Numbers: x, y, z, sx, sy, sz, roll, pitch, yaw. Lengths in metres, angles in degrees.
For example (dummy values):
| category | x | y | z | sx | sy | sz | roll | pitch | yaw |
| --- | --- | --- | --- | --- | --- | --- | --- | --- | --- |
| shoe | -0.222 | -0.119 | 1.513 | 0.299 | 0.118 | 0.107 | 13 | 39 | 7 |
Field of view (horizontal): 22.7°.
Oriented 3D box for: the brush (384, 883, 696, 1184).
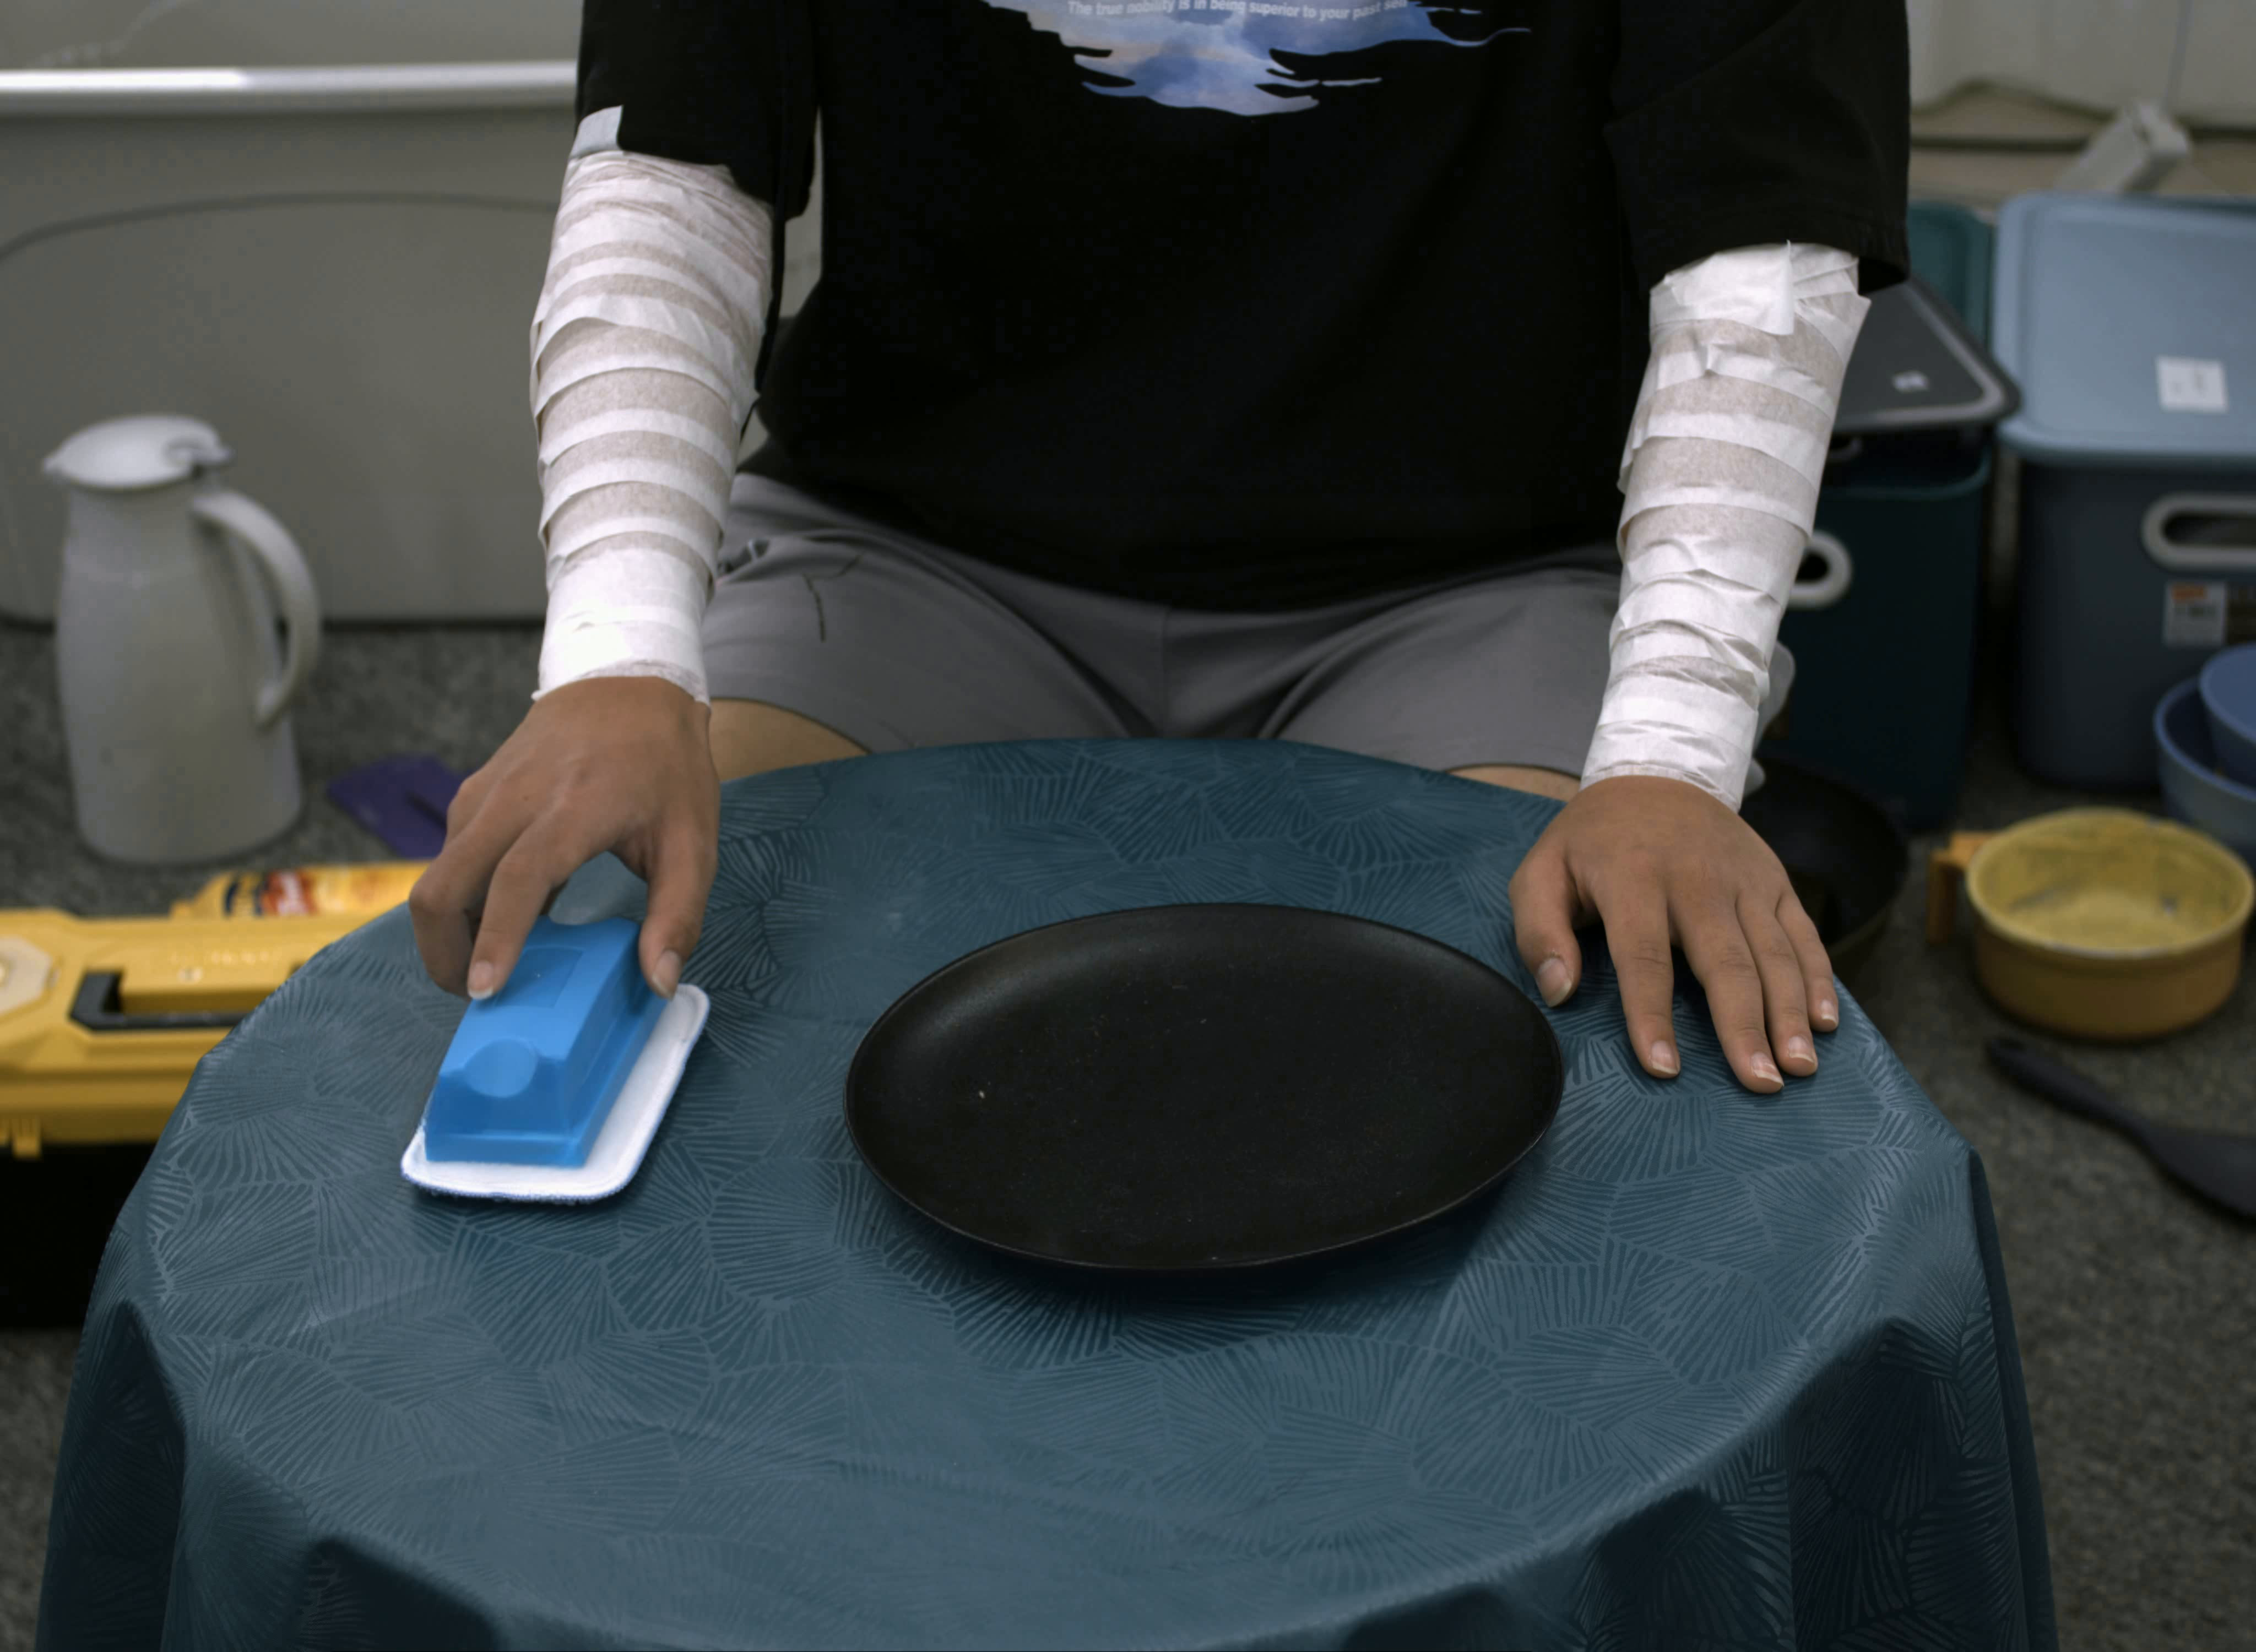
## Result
| category | x | y | z | sx | sy | sz | roll | pitch | yaw |
| --- | --- | --- | --- | --- | --- | --- | --- | --- | --- |
| brush | -0.200 | 0.066 | 1.921 | 0.083 | 0.055 | 0.146 | 5 | 31 | 8 |

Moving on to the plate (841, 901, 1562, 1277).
| category | x | y | z | sx | sy | sz | roll | pitch | yaw |
| --- | --- | --- | --- | --- | --- | --- | --- | --- | --- |
| plate | 0.025 | 0.092 | 1.890 | 0.243 | 0.023 | 0.248 | -2 | 27 | 2 |
